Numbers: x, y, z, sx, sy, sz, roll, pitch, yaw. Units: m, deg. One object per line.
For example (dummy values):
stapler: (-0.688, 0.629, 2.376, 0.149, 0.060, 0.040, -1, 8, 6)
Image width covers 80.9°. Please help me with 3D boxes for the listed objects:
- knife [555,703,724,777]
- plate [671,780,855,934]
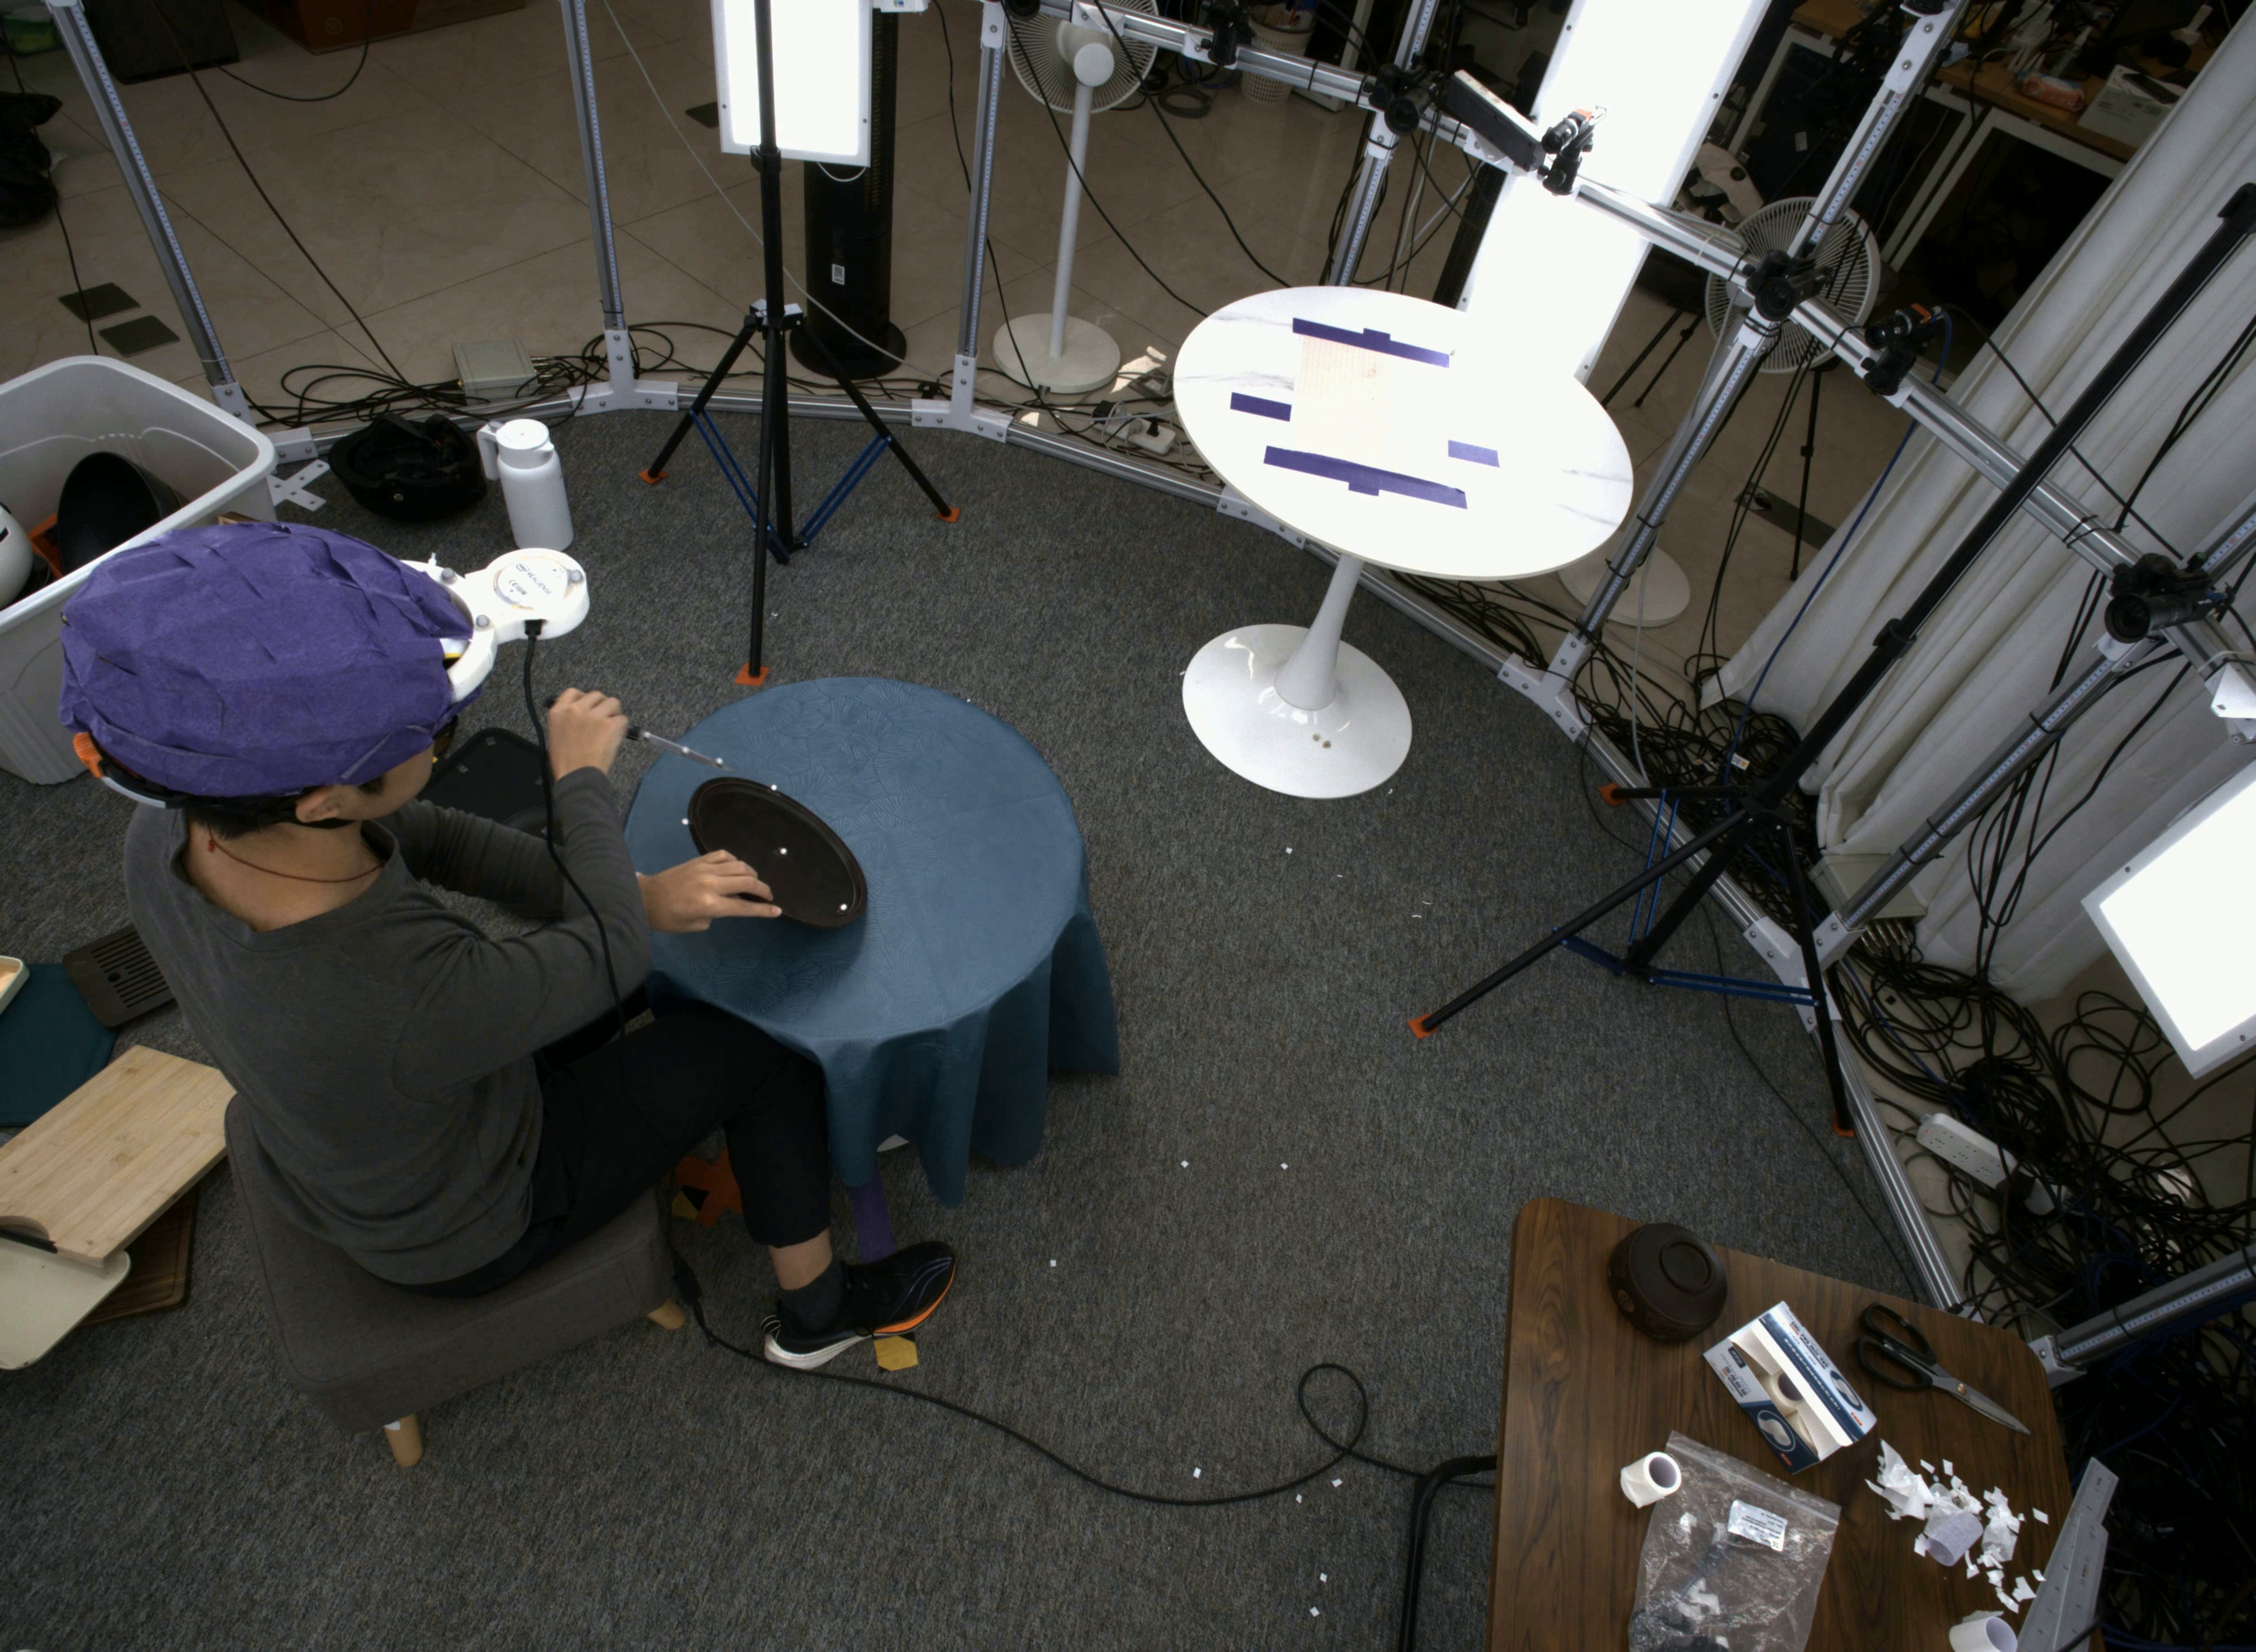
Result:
knife: (-0.602, -0.104, 1.553, 0.244, 0.016, 0.024, 23, 25, -31)
plate: (-0.450, 0.038, 1.600, 0.259, 0.029, 0.250, 38, 19, -14)
